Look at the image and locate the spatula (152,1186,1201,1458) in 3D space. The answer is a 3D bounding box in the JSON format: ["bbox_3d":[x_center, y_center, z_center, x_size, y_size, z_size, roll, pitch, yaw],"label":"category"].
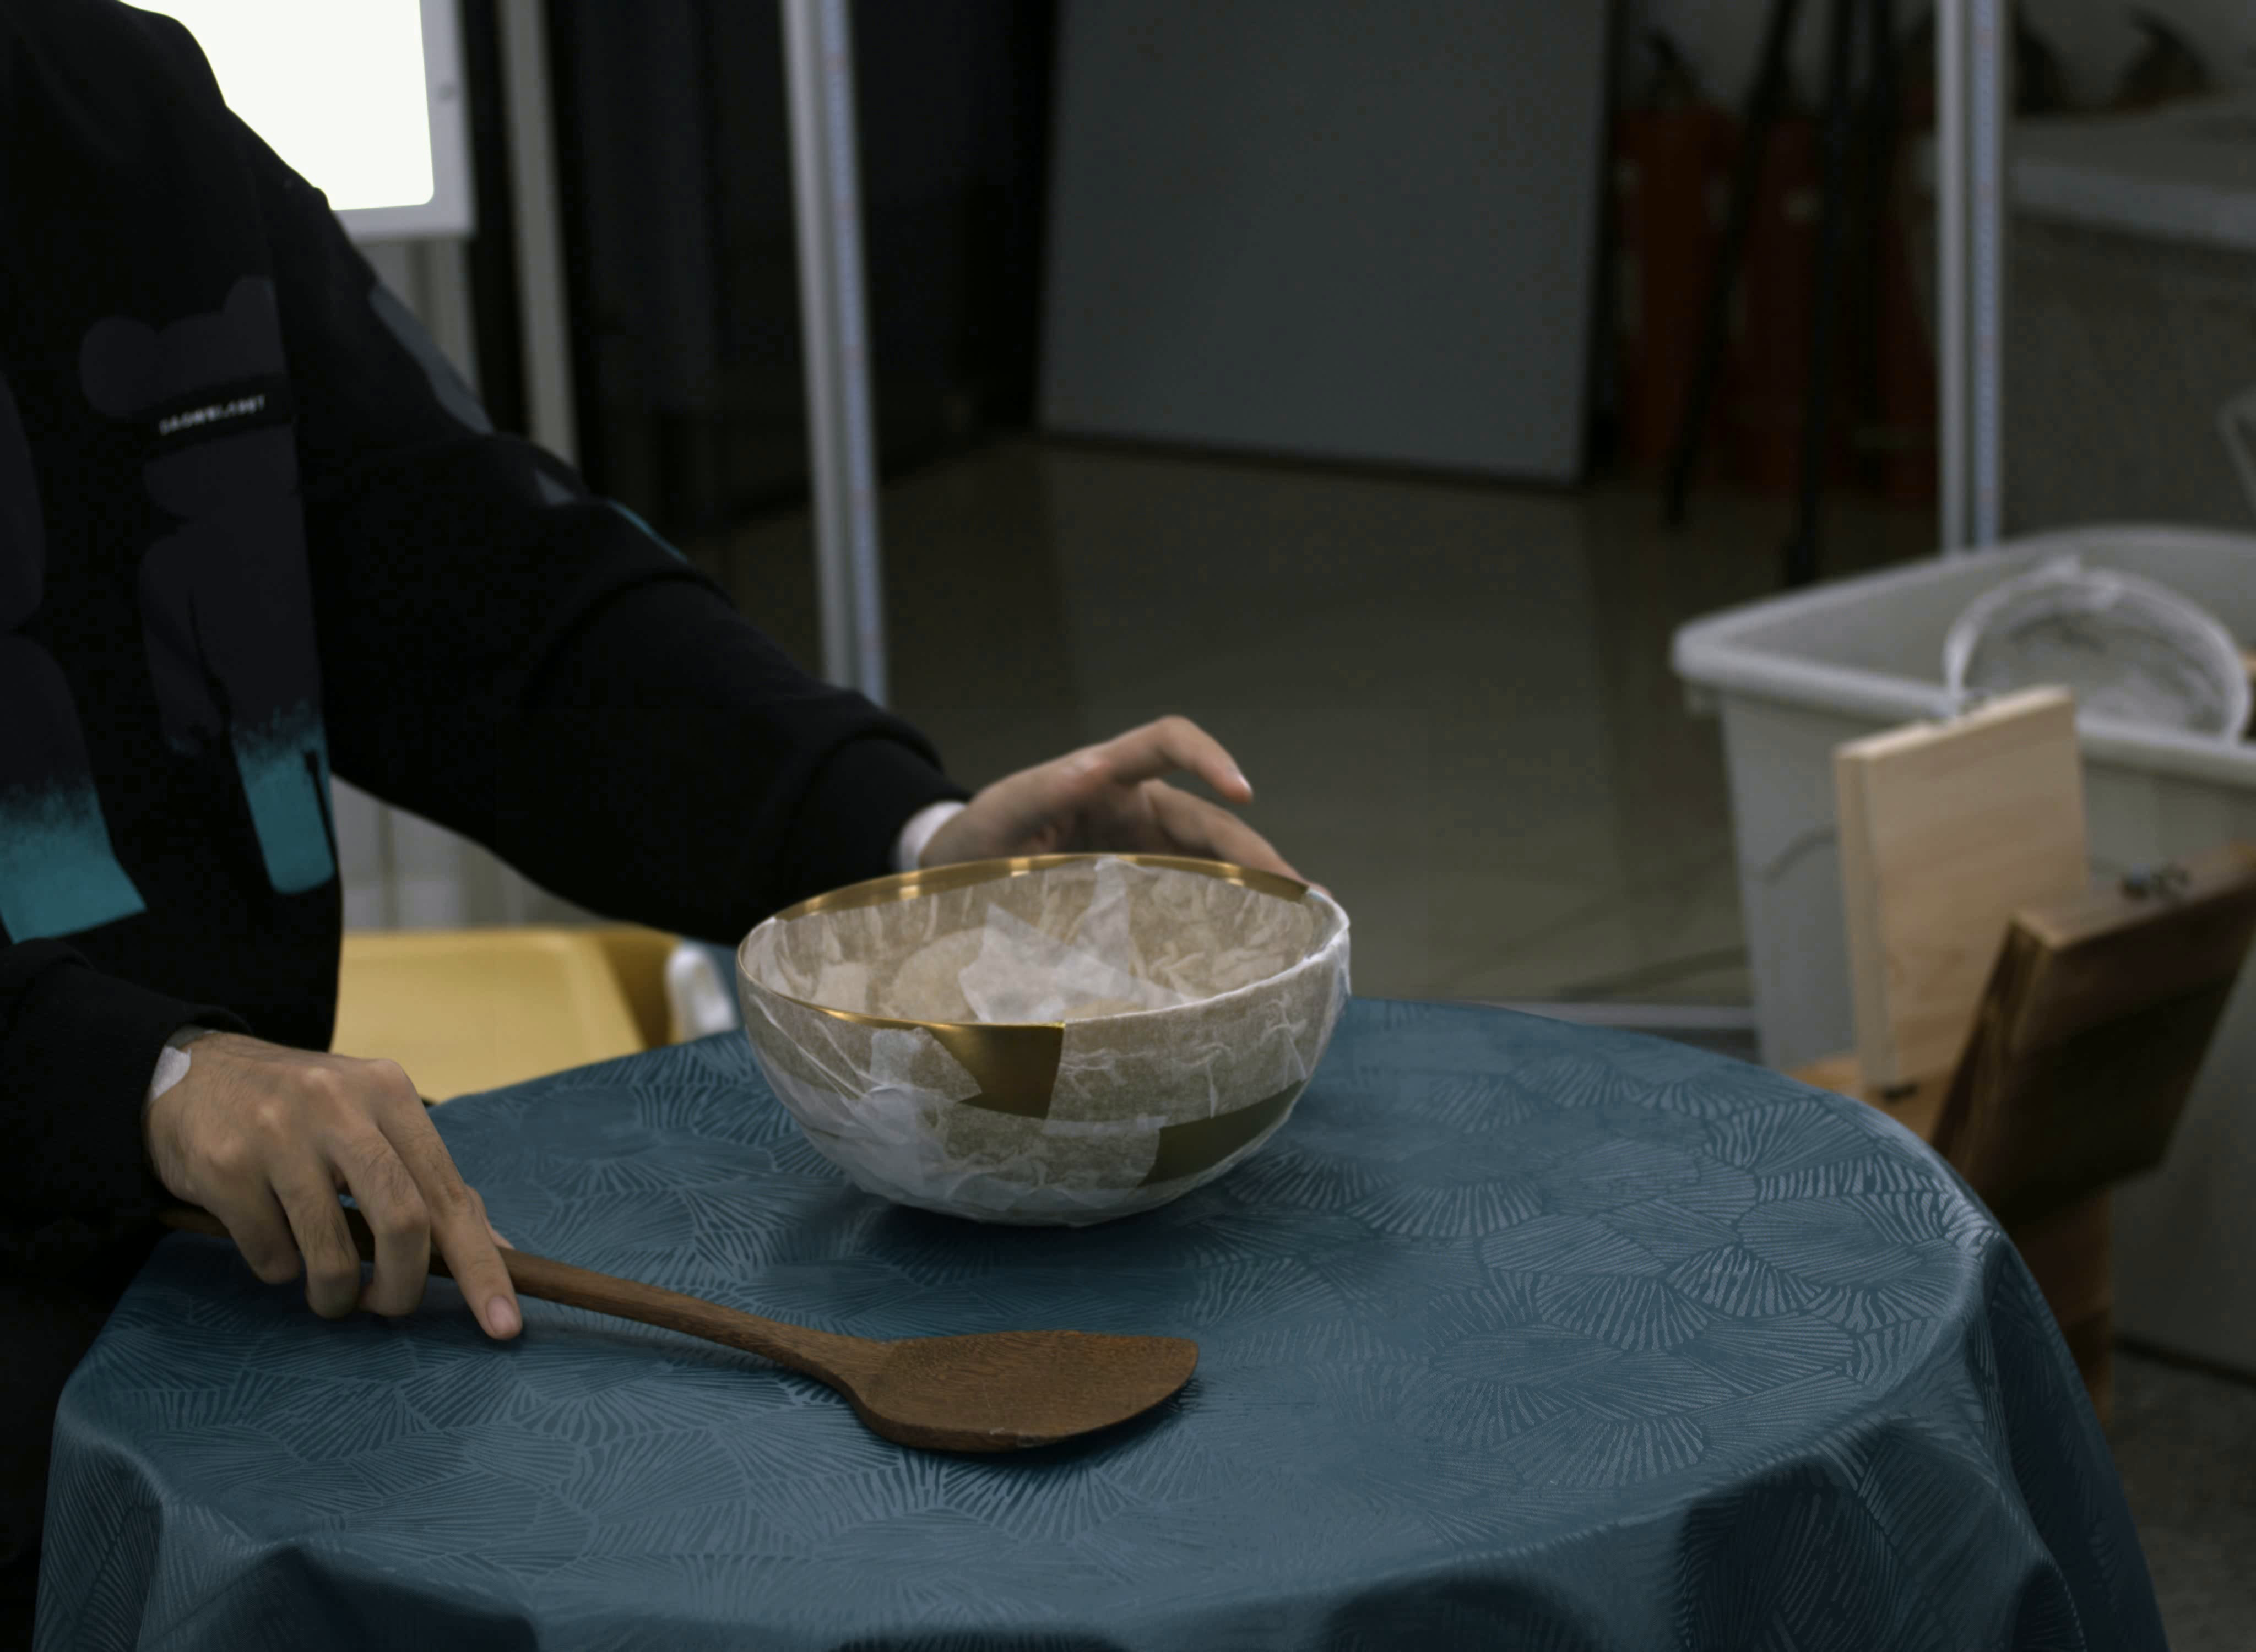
[{"bbox_3d":[-0.153,0.147,1.656,0.388,0.016,0.094,9,18,32],"label":"spatula"}]

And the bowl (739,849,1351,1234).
[{"bbox_3d":[-0.025,0.077,1.763,0.212,0.095,0.215,-6,14,0],"label":"bowl"}]
